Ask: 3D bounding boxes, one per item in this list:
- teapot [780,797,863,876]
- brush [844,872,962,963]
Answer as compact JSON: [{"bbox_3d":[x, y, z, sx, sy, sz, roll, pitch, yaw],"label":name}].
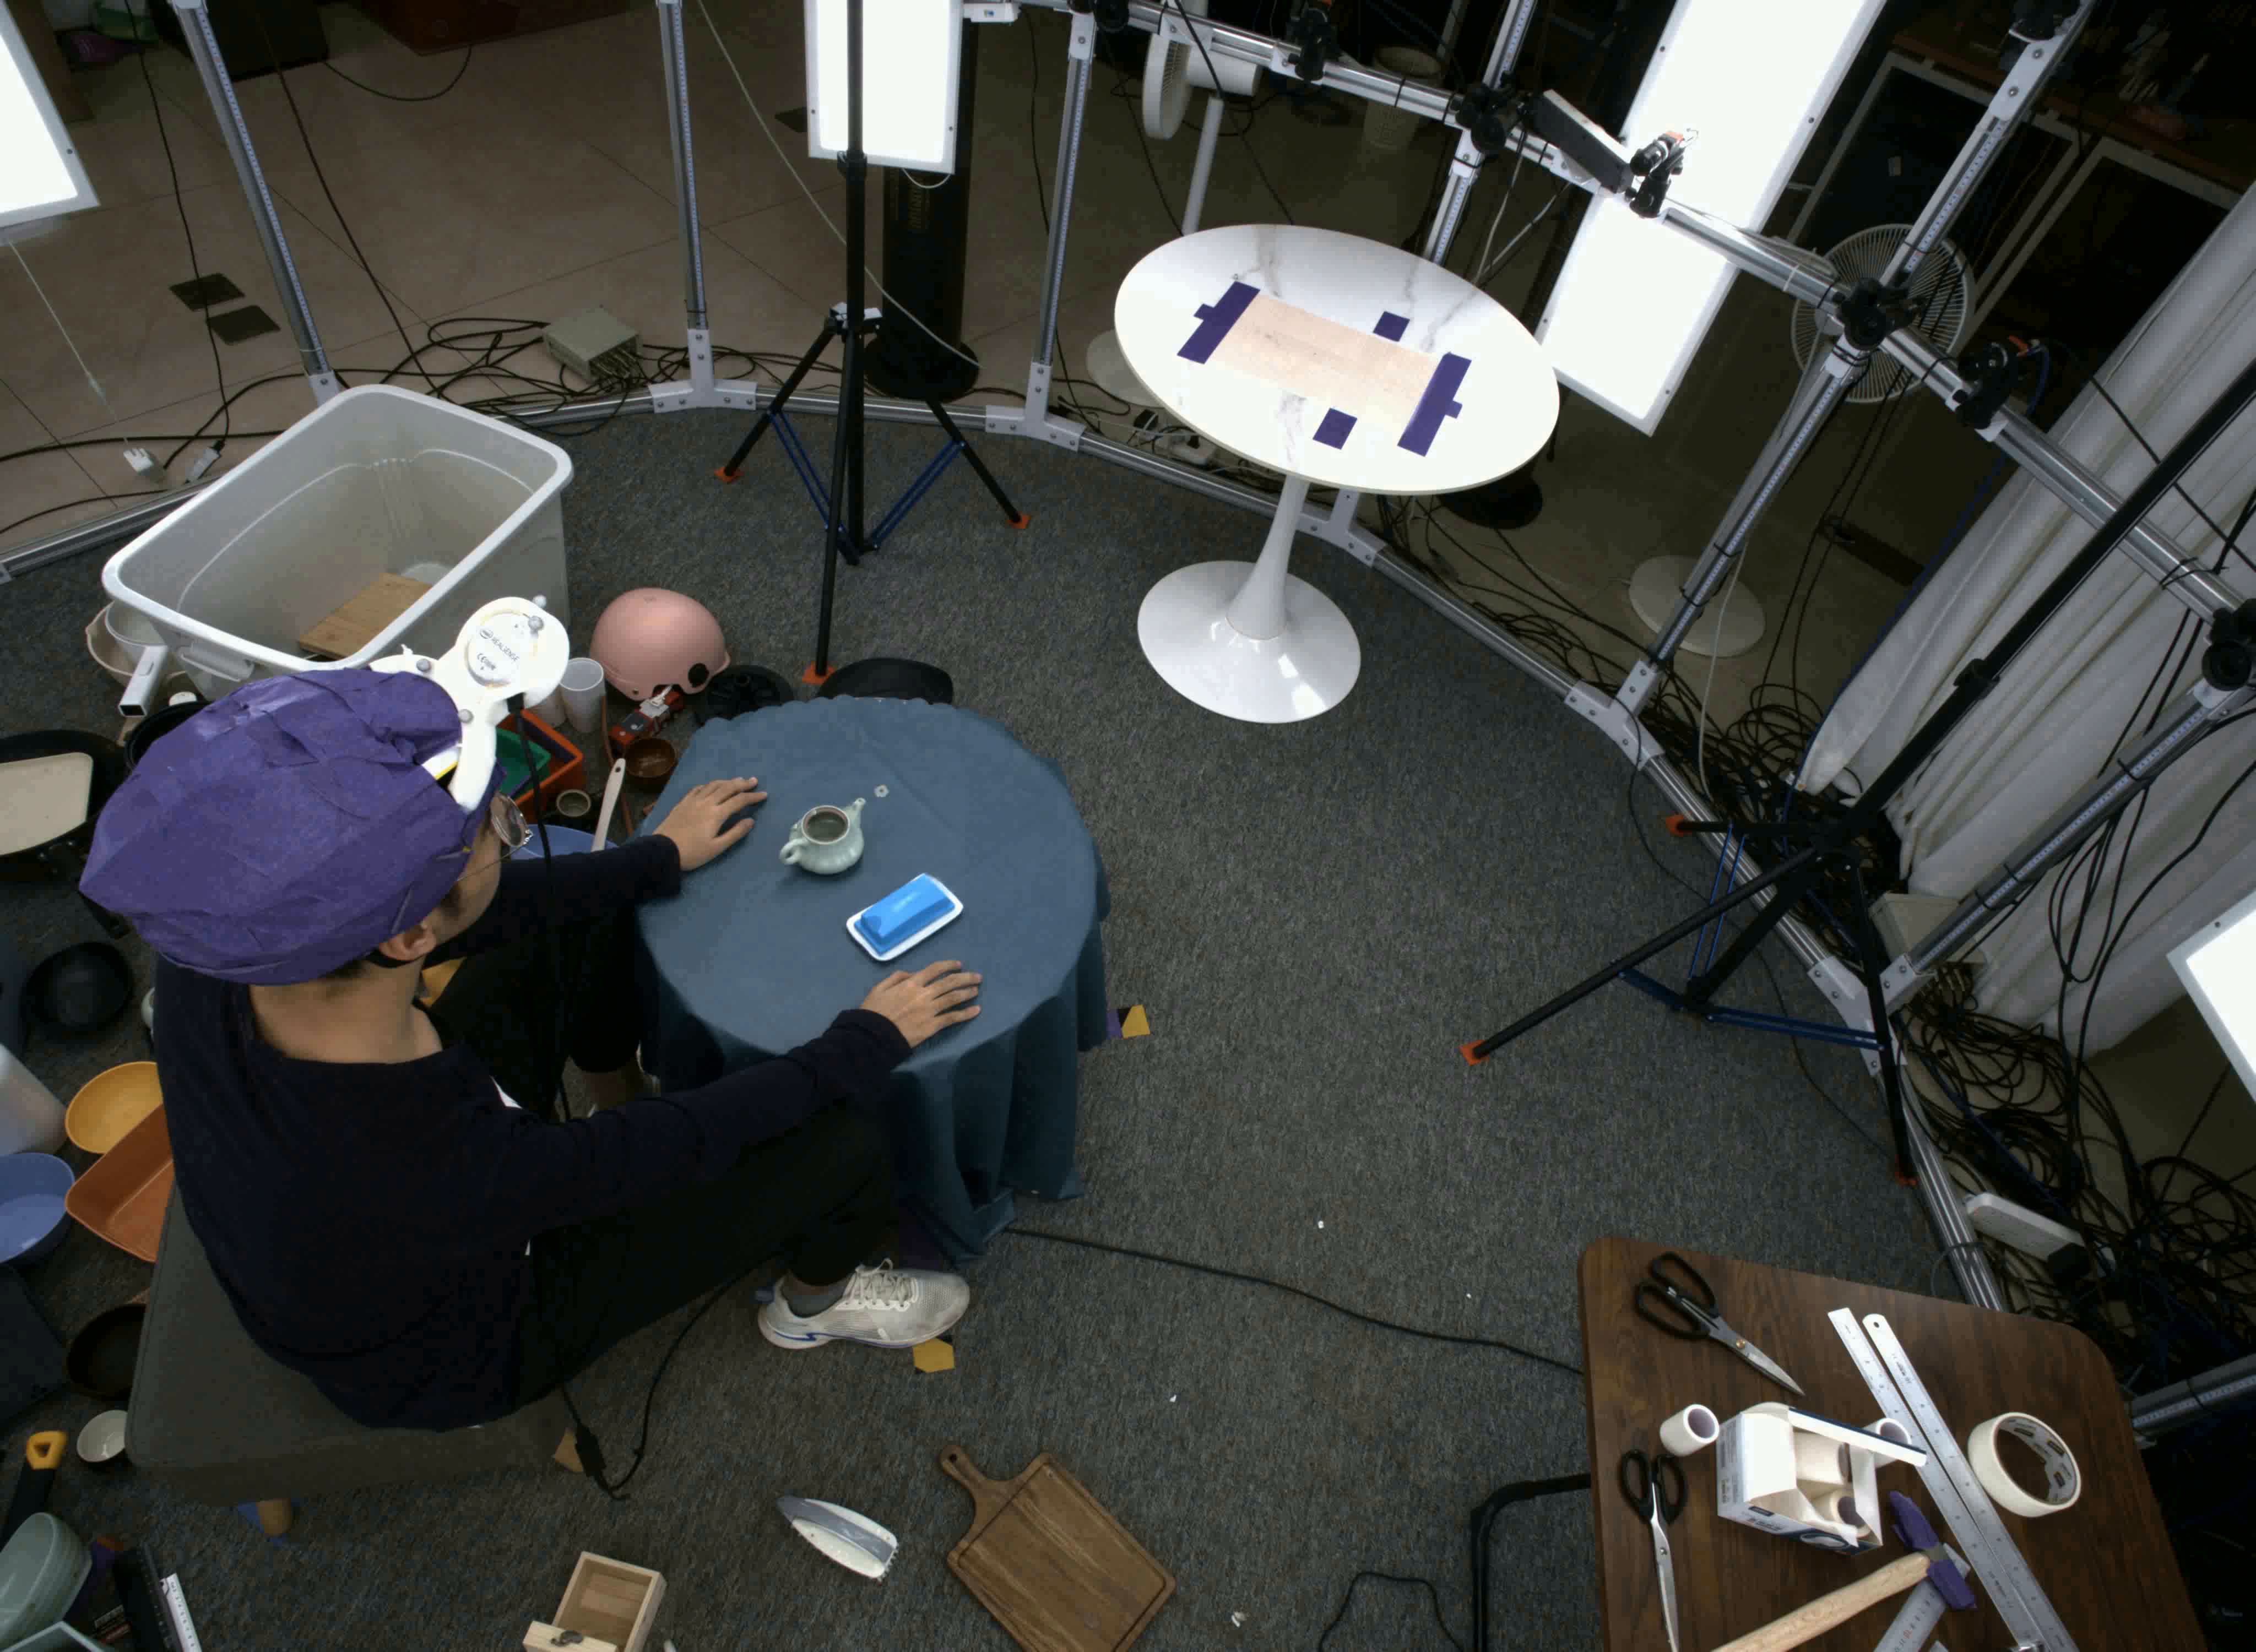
[{"bbox_3d":[-0.396,0.016,1.682,0.094,0.062,0.137,41,54,15],"label":"teapot"},{"bbox_3d":[-0.284,0.106,1.642,0.144,0.057,0.081,-31,62,-33],"label":"brush"}]
